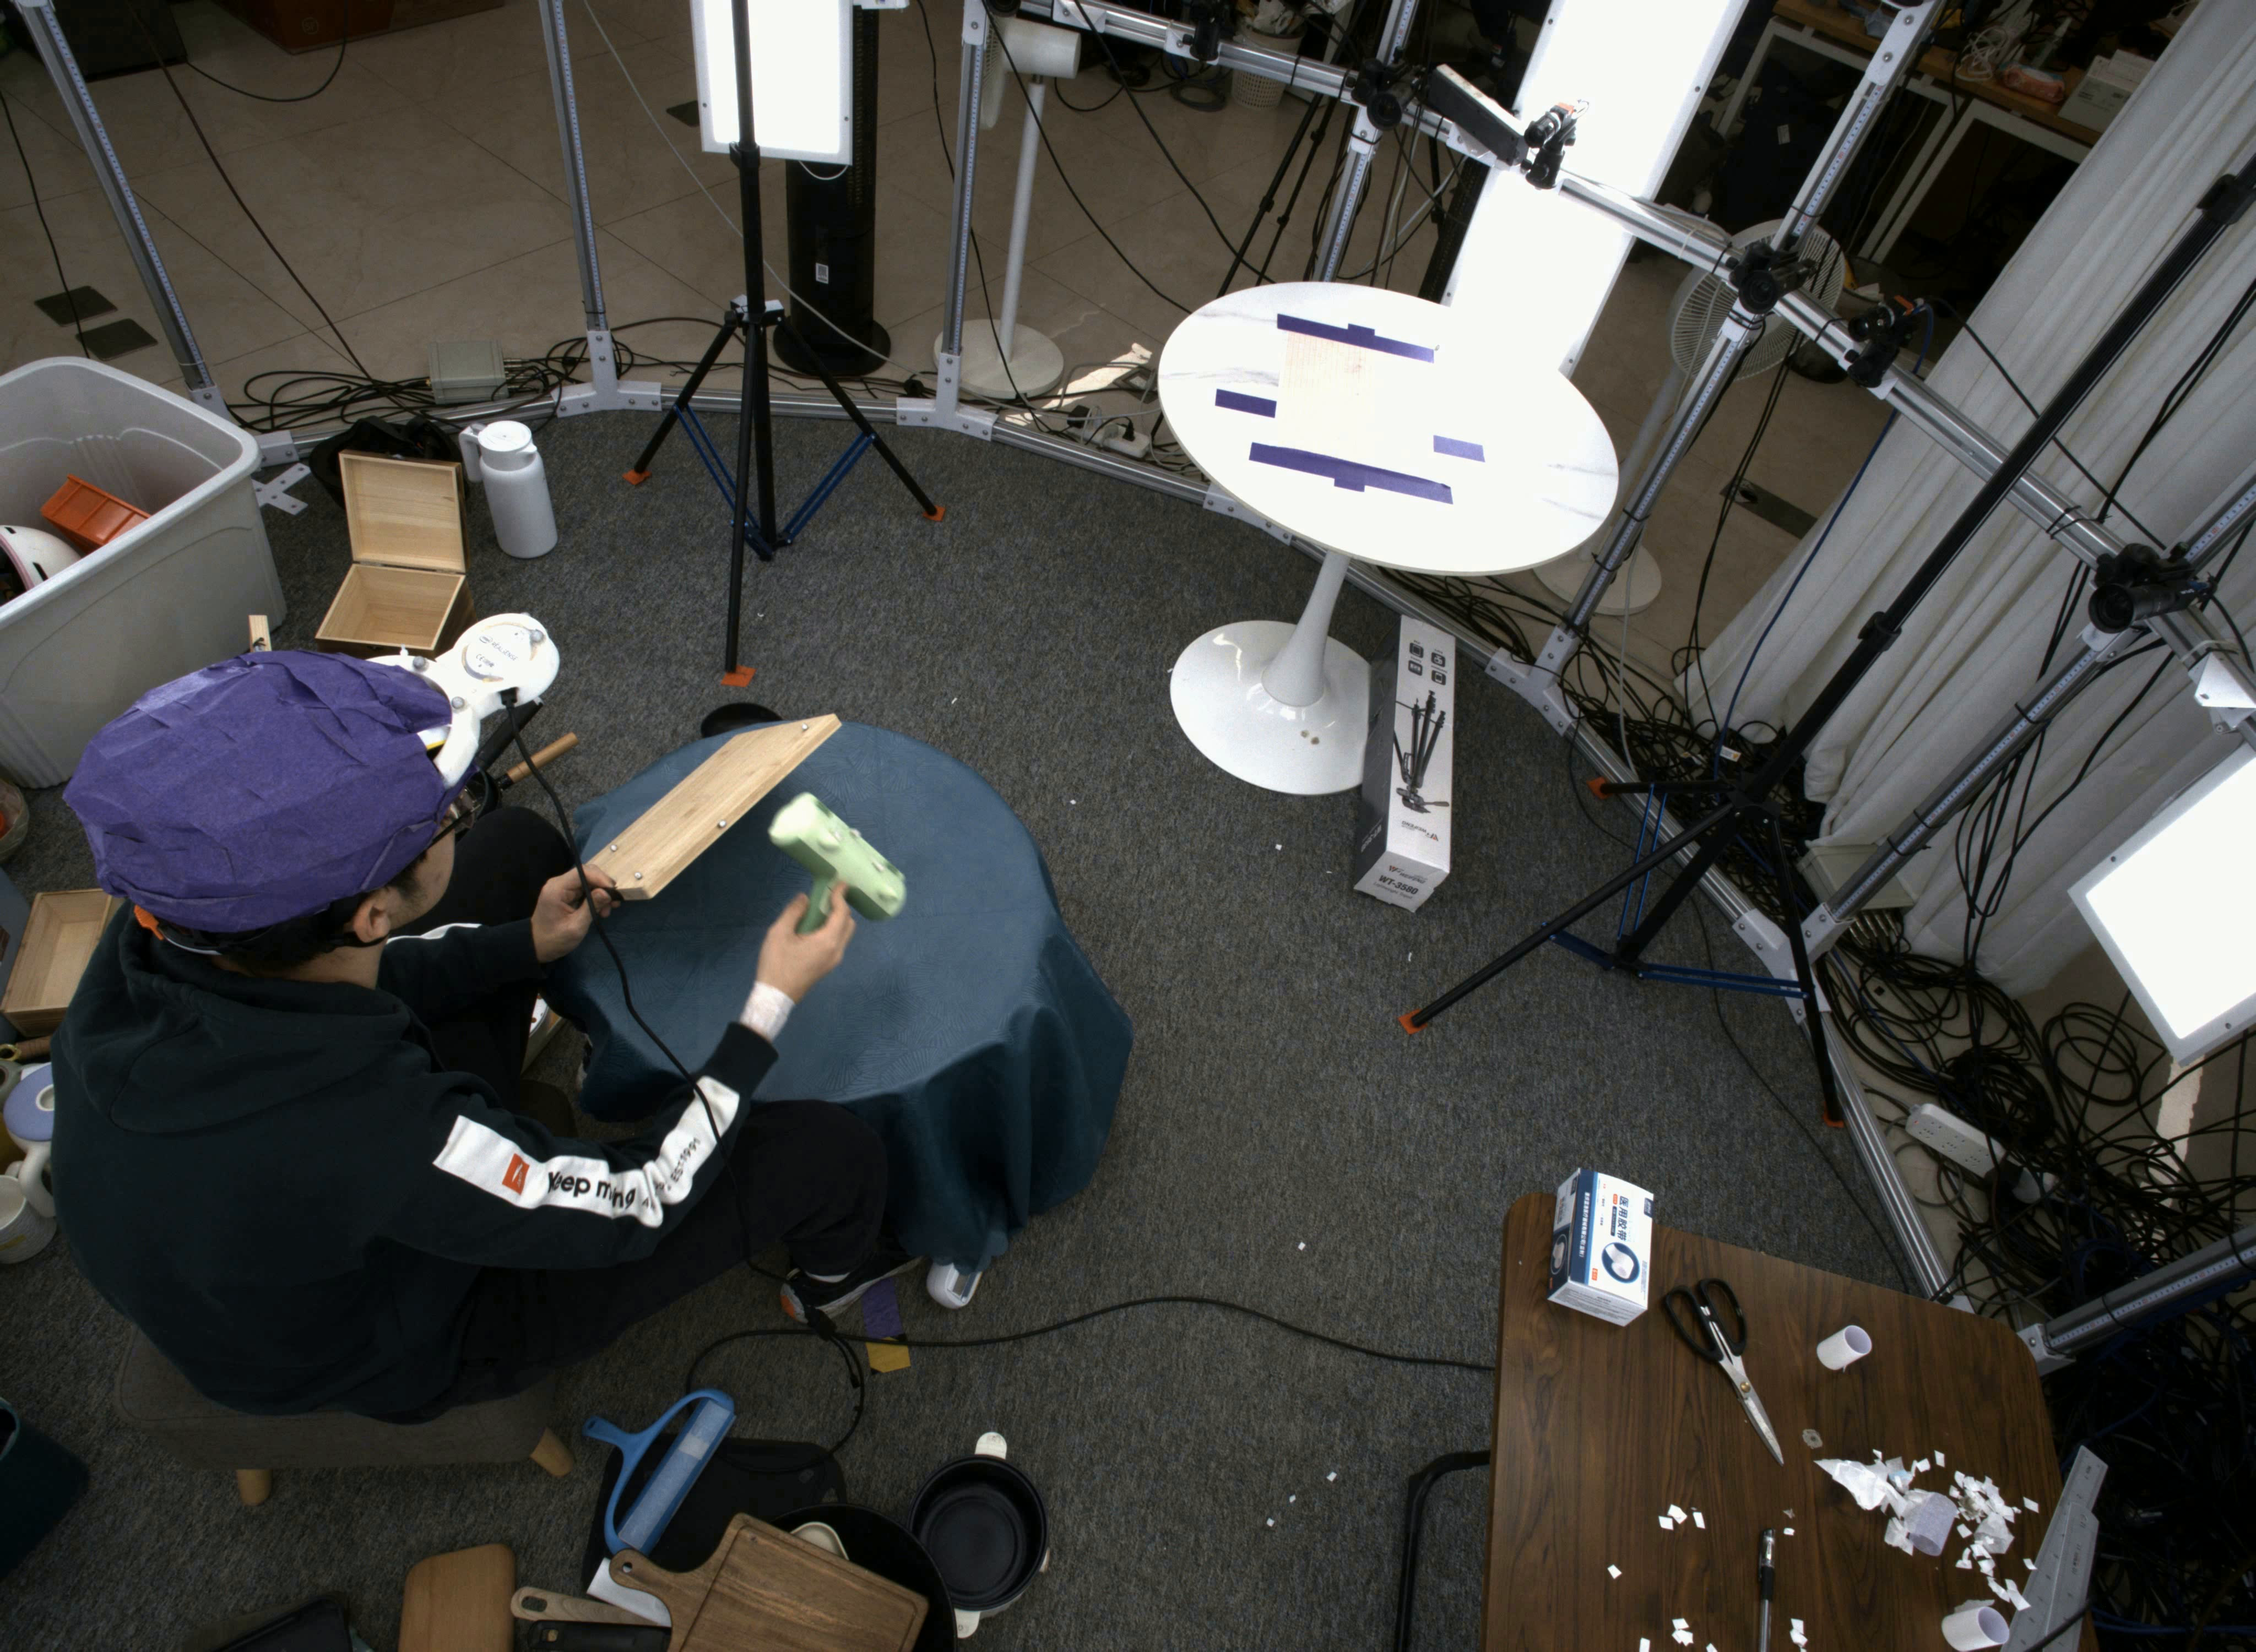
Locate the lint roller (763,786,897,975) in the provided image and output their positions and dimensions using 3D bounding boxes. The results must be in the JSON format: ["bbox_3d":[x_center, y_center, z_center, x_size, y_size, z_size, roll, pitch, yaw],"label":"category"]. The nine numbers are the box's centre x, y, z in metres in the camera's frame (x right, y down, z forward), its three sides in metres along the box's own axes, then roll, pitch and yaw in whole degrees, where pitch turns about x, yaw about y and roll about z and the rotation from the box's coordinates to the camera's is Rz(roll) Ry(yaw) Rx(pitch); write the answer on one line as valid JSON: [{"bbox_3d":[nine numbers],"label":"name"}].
[{"bbox_3d":[-0.342,0.081,1.463,0.080,0.206,0.182,-3,58,27],"label":"lint roller"}]

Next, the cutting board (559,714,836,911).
[{"bbox_3d":[-0.538,-0.020,1.600,0.347,0.243,0.024,-52,121,-38],"label":"cutting board"}]
